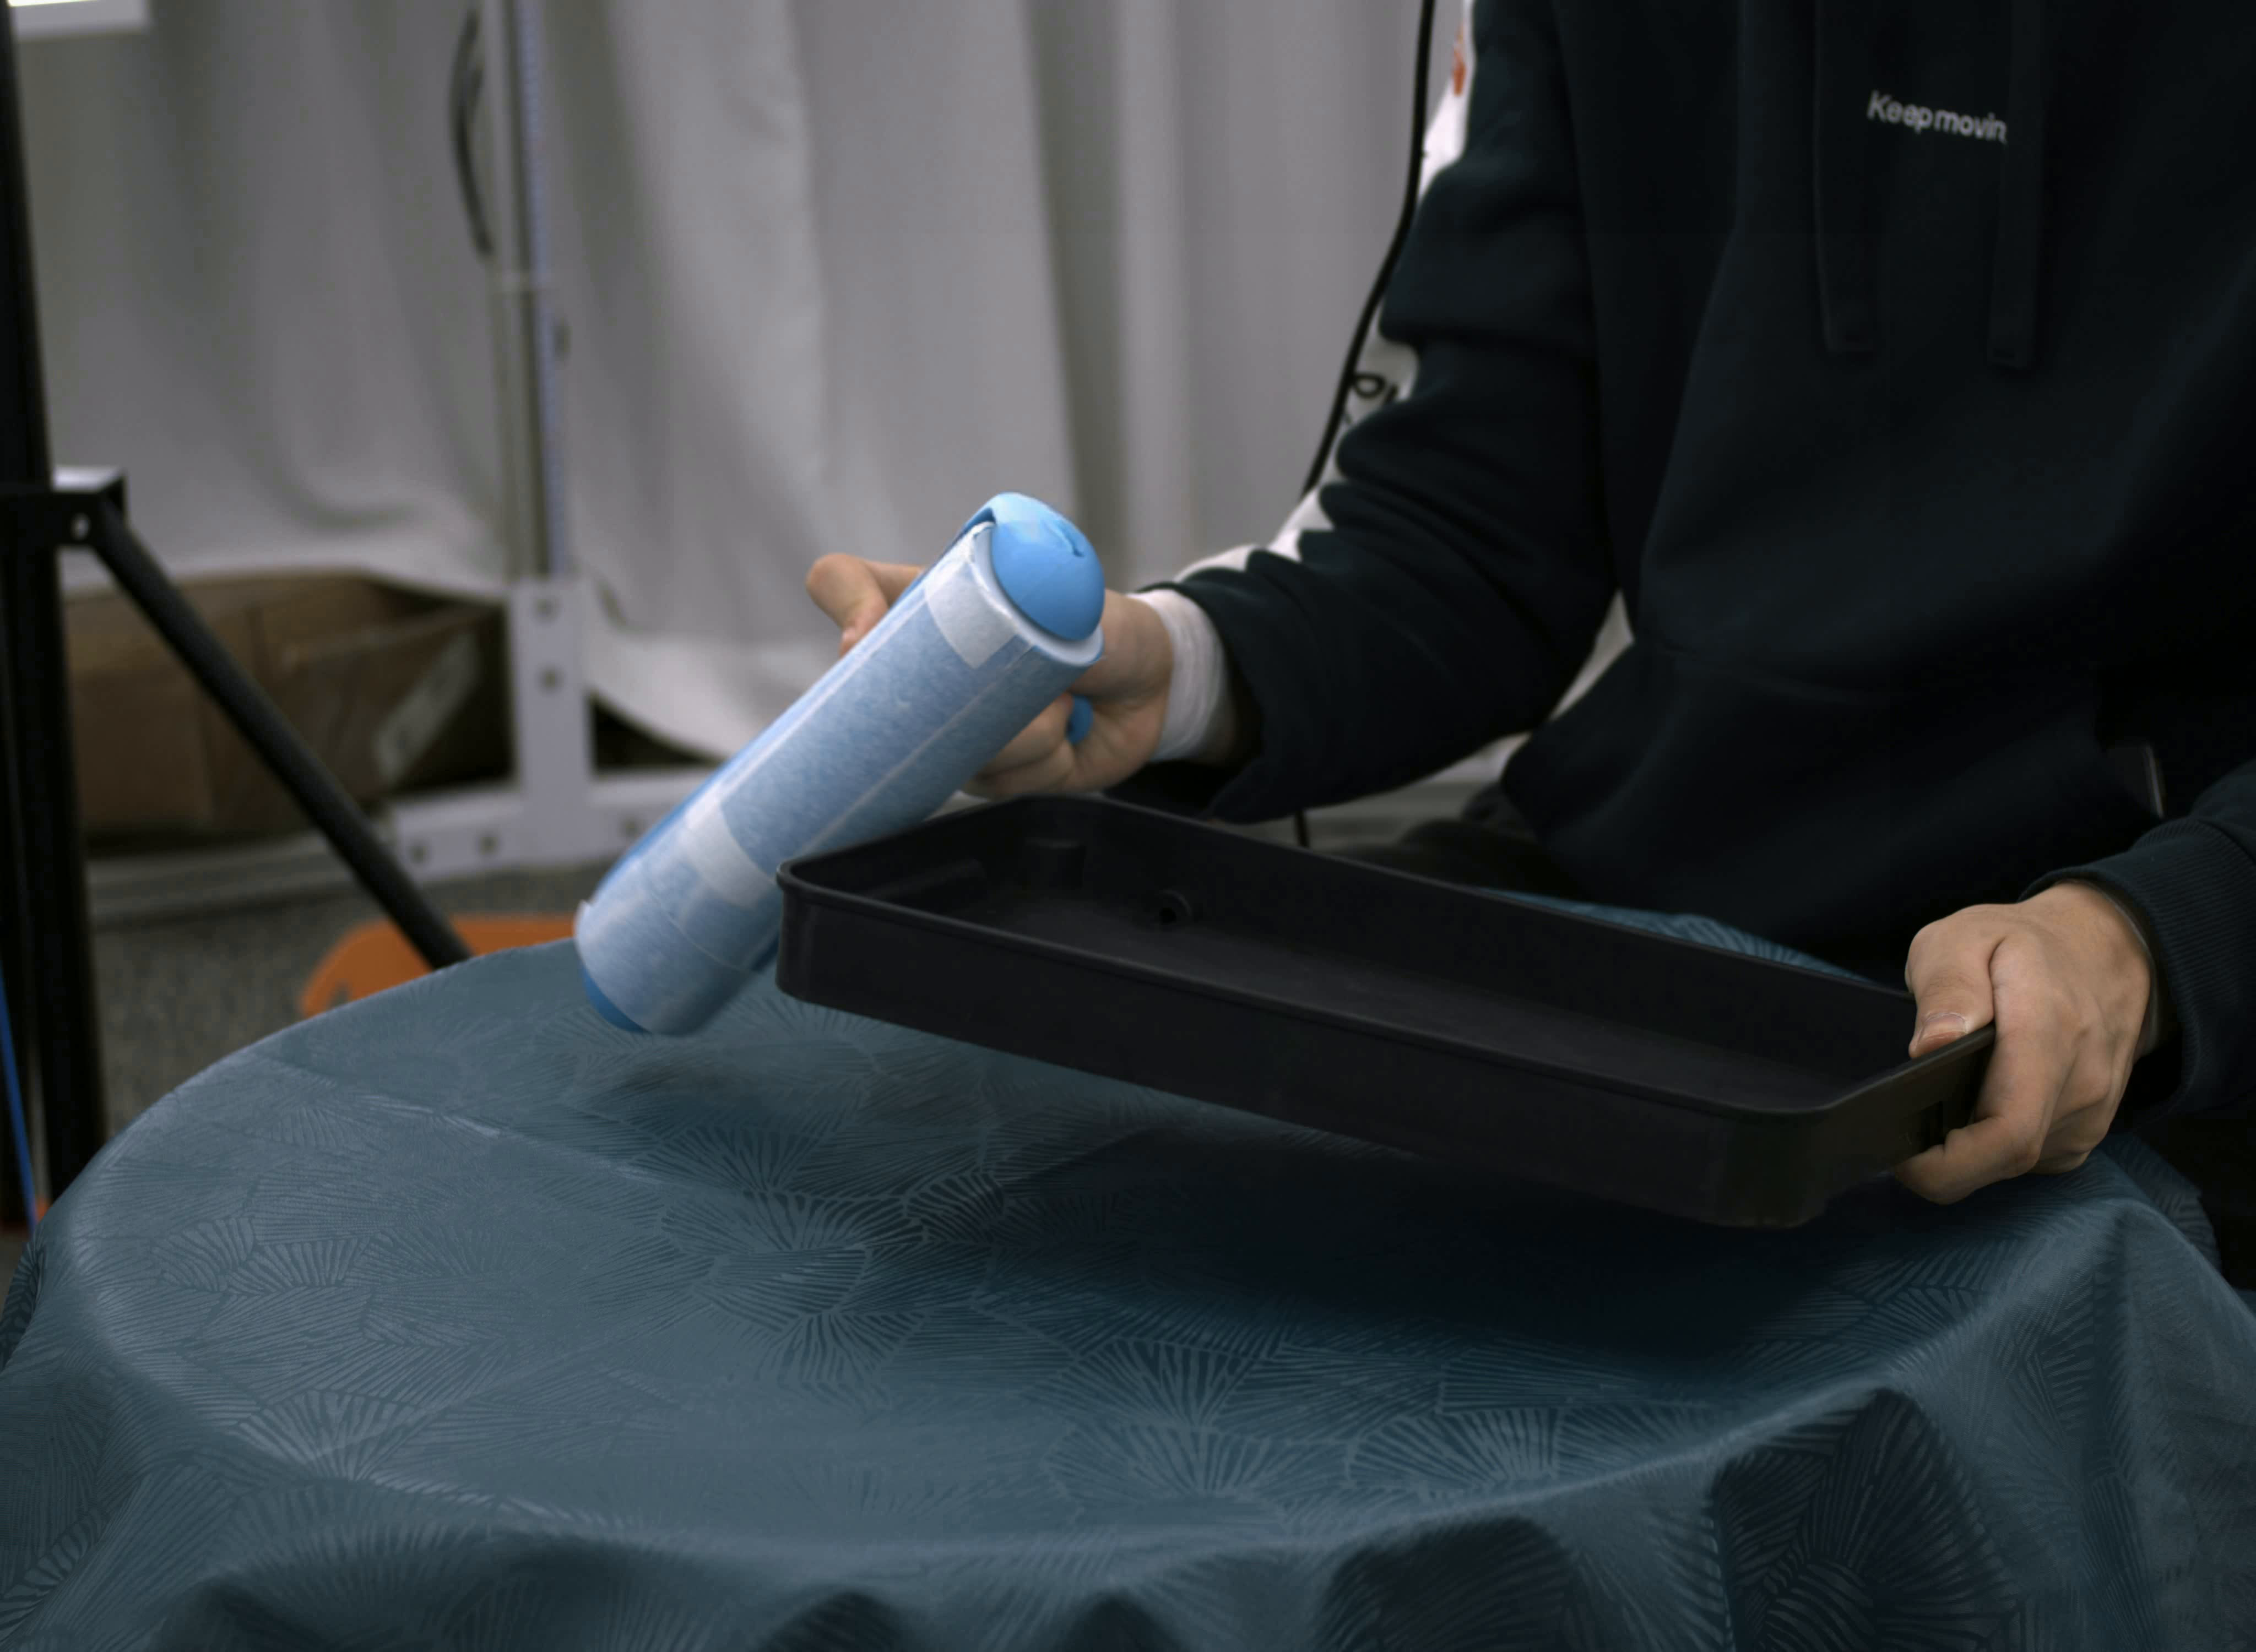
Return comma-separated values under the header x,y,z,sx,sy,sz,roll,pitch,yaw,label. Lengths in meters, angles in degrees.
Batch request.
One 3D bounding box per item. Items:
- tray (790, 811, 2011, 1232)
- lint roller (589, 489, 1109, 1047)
x,y,z,sx,sy,sz,roll,pitch,yaw,label
0.076,0.051,1.502,0.323,0.037,0.181,12,12,25,tray
-0.067,-0.026,1.681,0.231,0.068,0.178,-45,-5,24,lint roller
